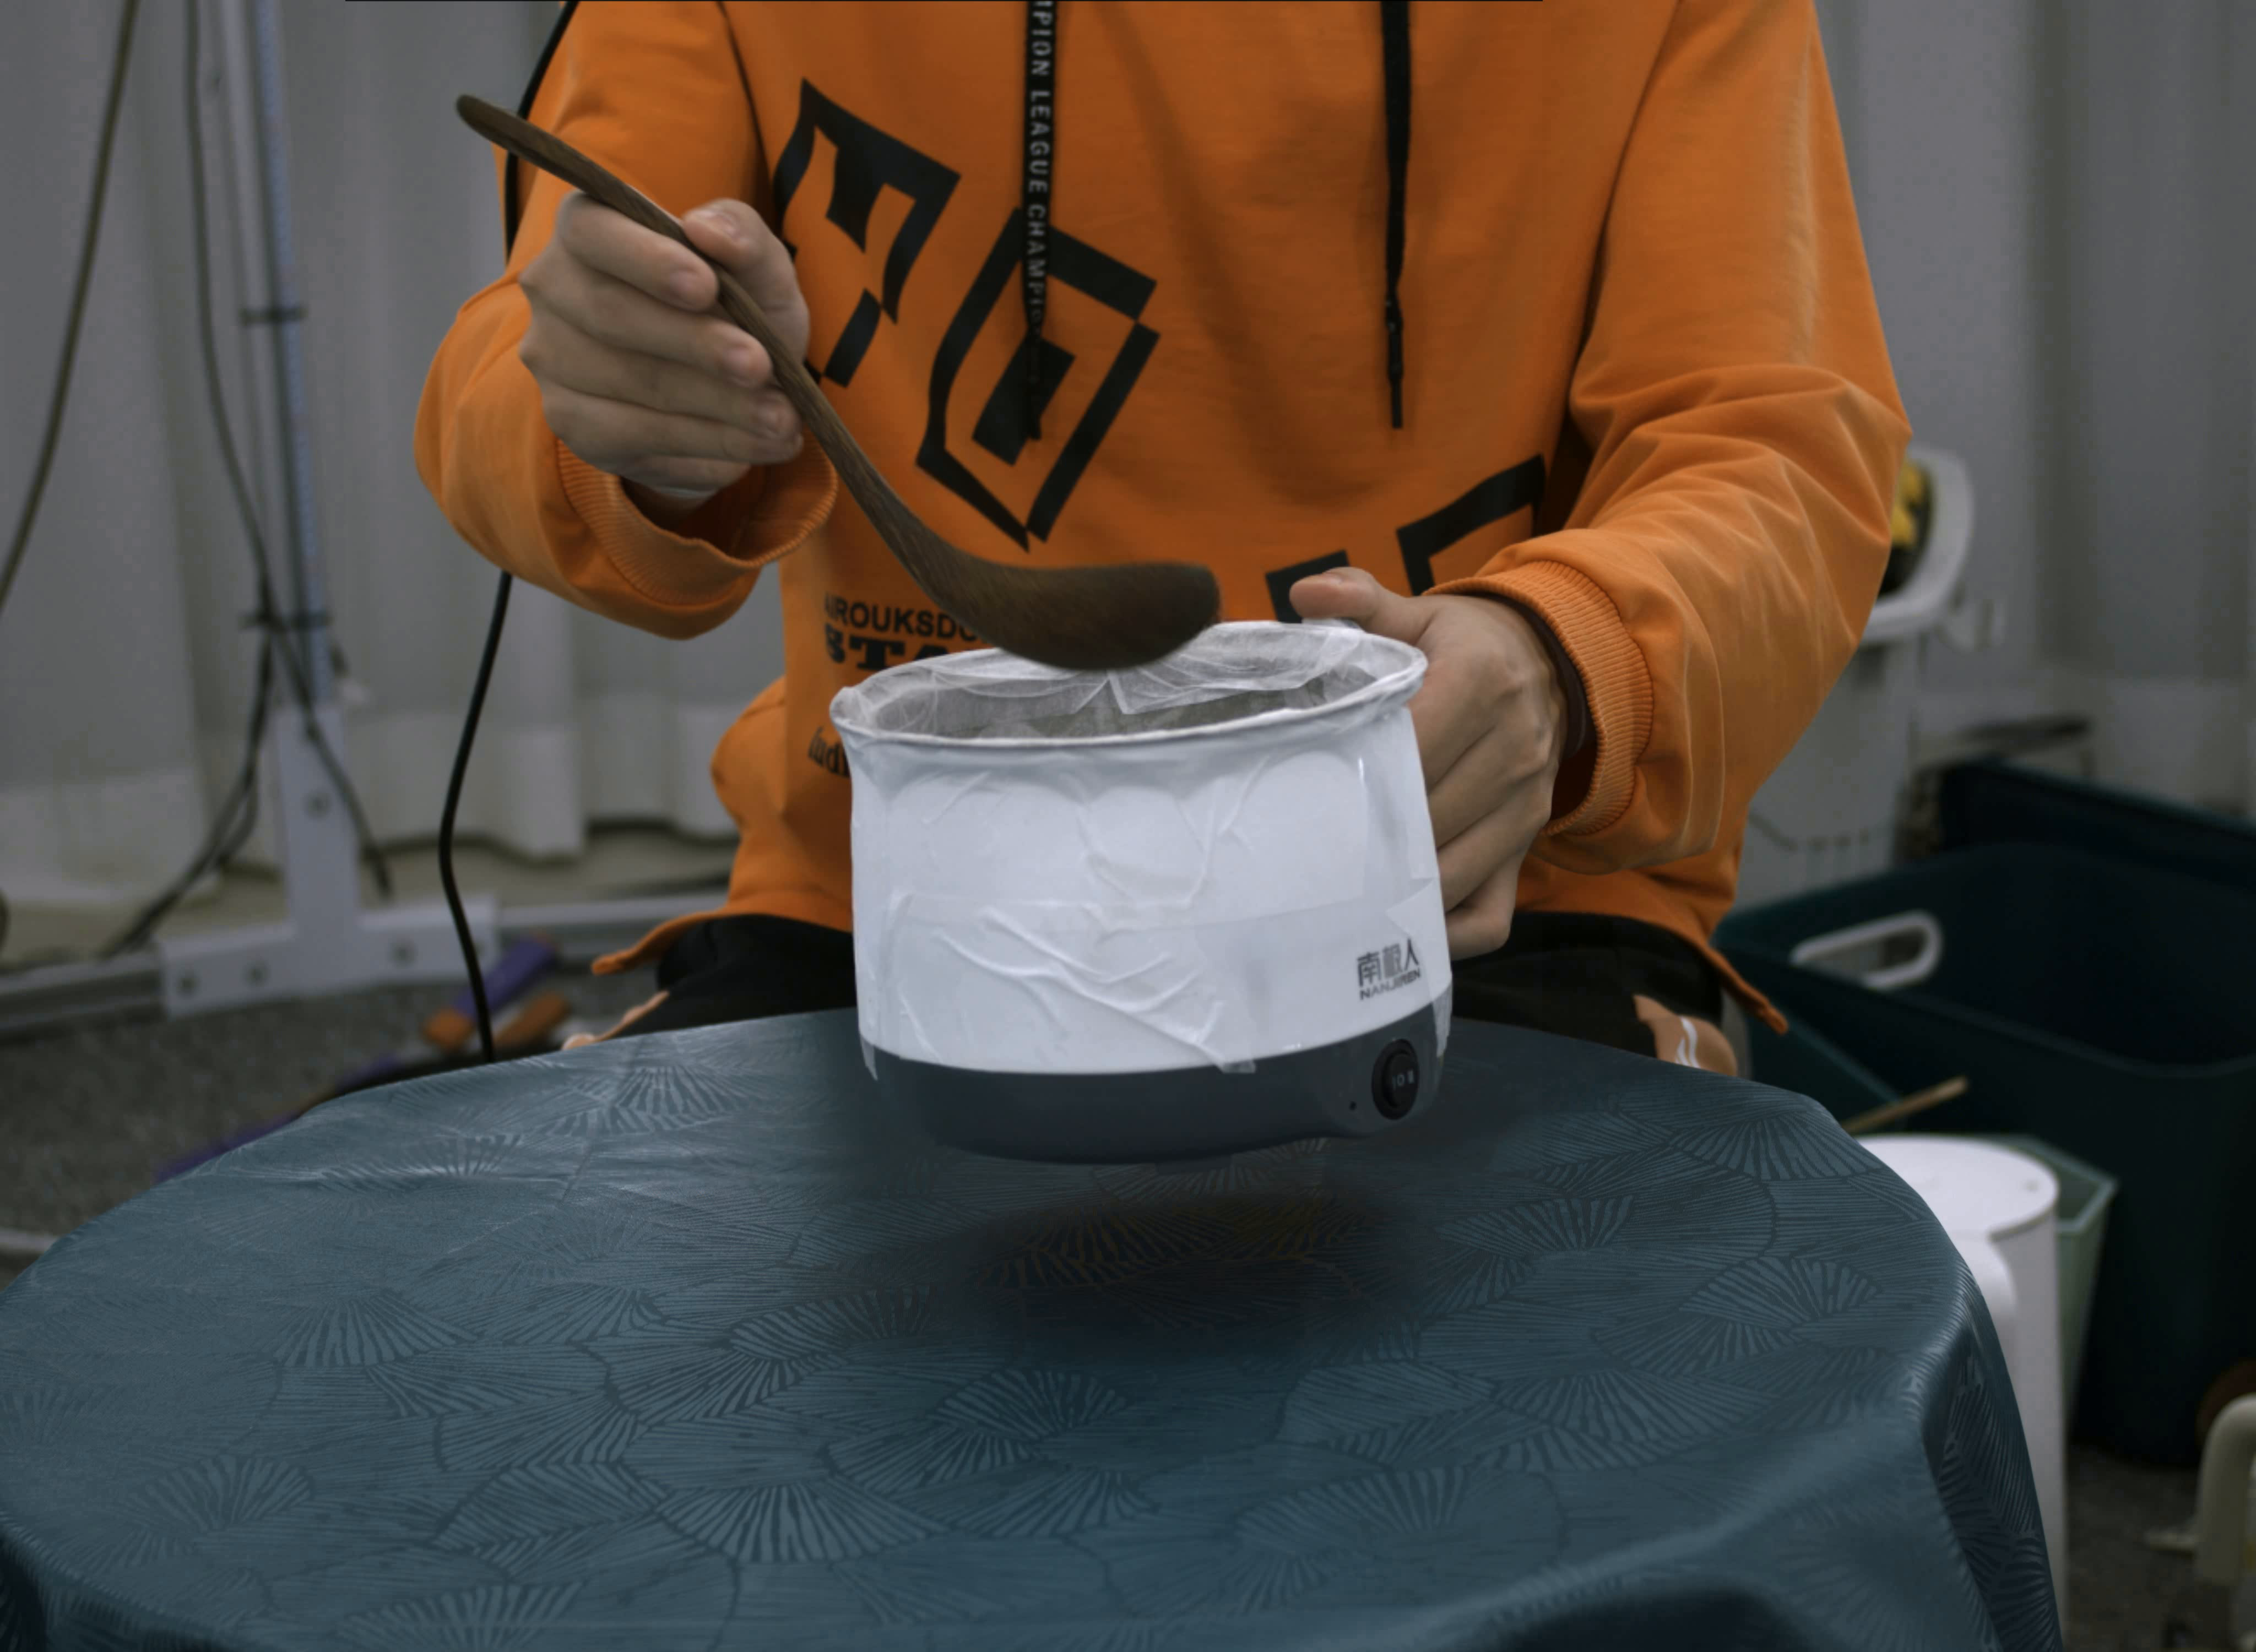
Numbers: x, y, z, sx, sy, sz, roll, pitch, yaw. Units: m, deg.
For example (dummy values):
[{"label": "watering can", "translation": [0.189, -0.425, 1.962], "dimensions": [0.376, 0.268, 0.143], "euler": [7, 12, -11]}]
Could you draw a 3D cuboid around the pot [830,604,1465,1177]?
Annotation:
[{"label": "pot", "translation": [0.022, 0.013, 1.637], "dimensions": [0.179, 0.136, 0.233], "euler": [4, 14, 36]}]

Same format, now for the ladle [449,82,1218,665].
[{"label": "ladle", "translation": [-0.086, -0.146, 1.629], "dimensions": [0.071, 0.275, 0.075], "euler": [-43, -12, -4]}]
